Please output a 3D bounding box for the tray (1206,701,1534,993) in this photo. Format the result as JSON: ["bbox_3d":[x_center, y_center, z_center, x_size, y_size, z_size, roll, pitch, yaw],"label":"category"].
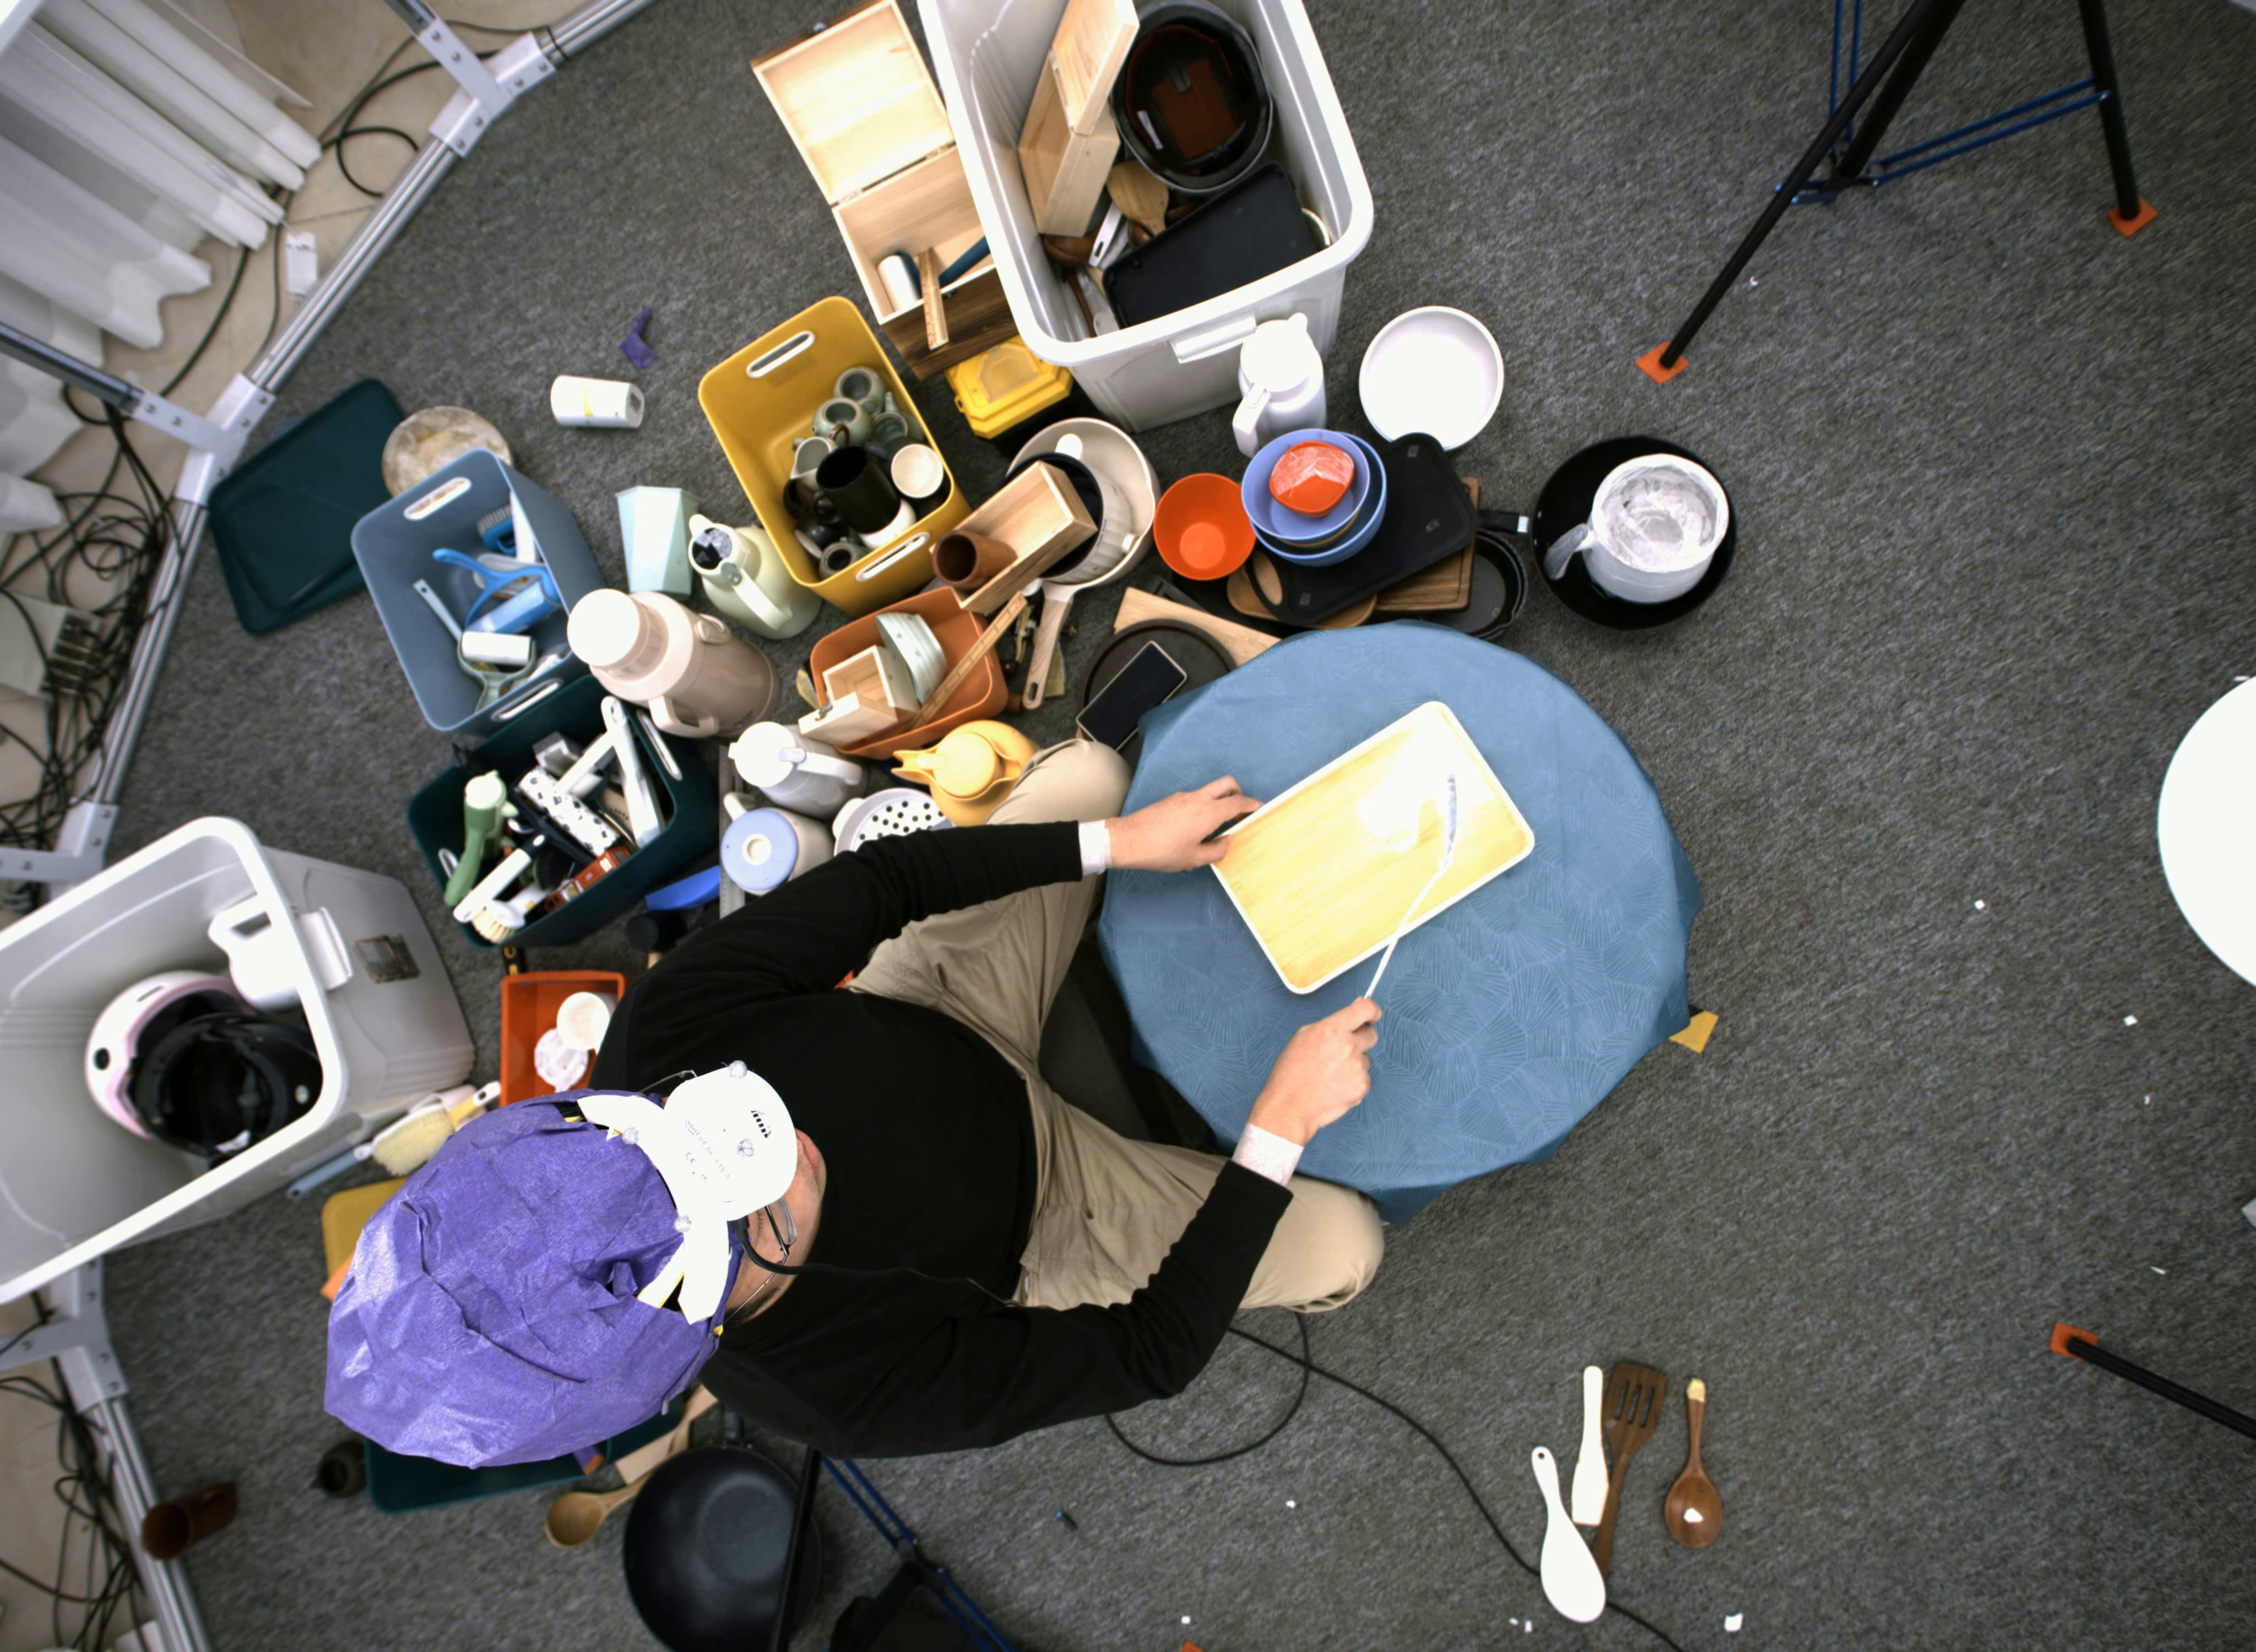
[{"bbox_3d":[0.251,0.021,1.447,0.301,0.027,0.190,-32,83,6],"label":"tray"}]

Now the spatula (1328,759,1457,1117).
[{"bbox_3d":[0.253,0.106,1.338,0.044,0.099,0.364,26,88,18],"label":"spatula"}]
